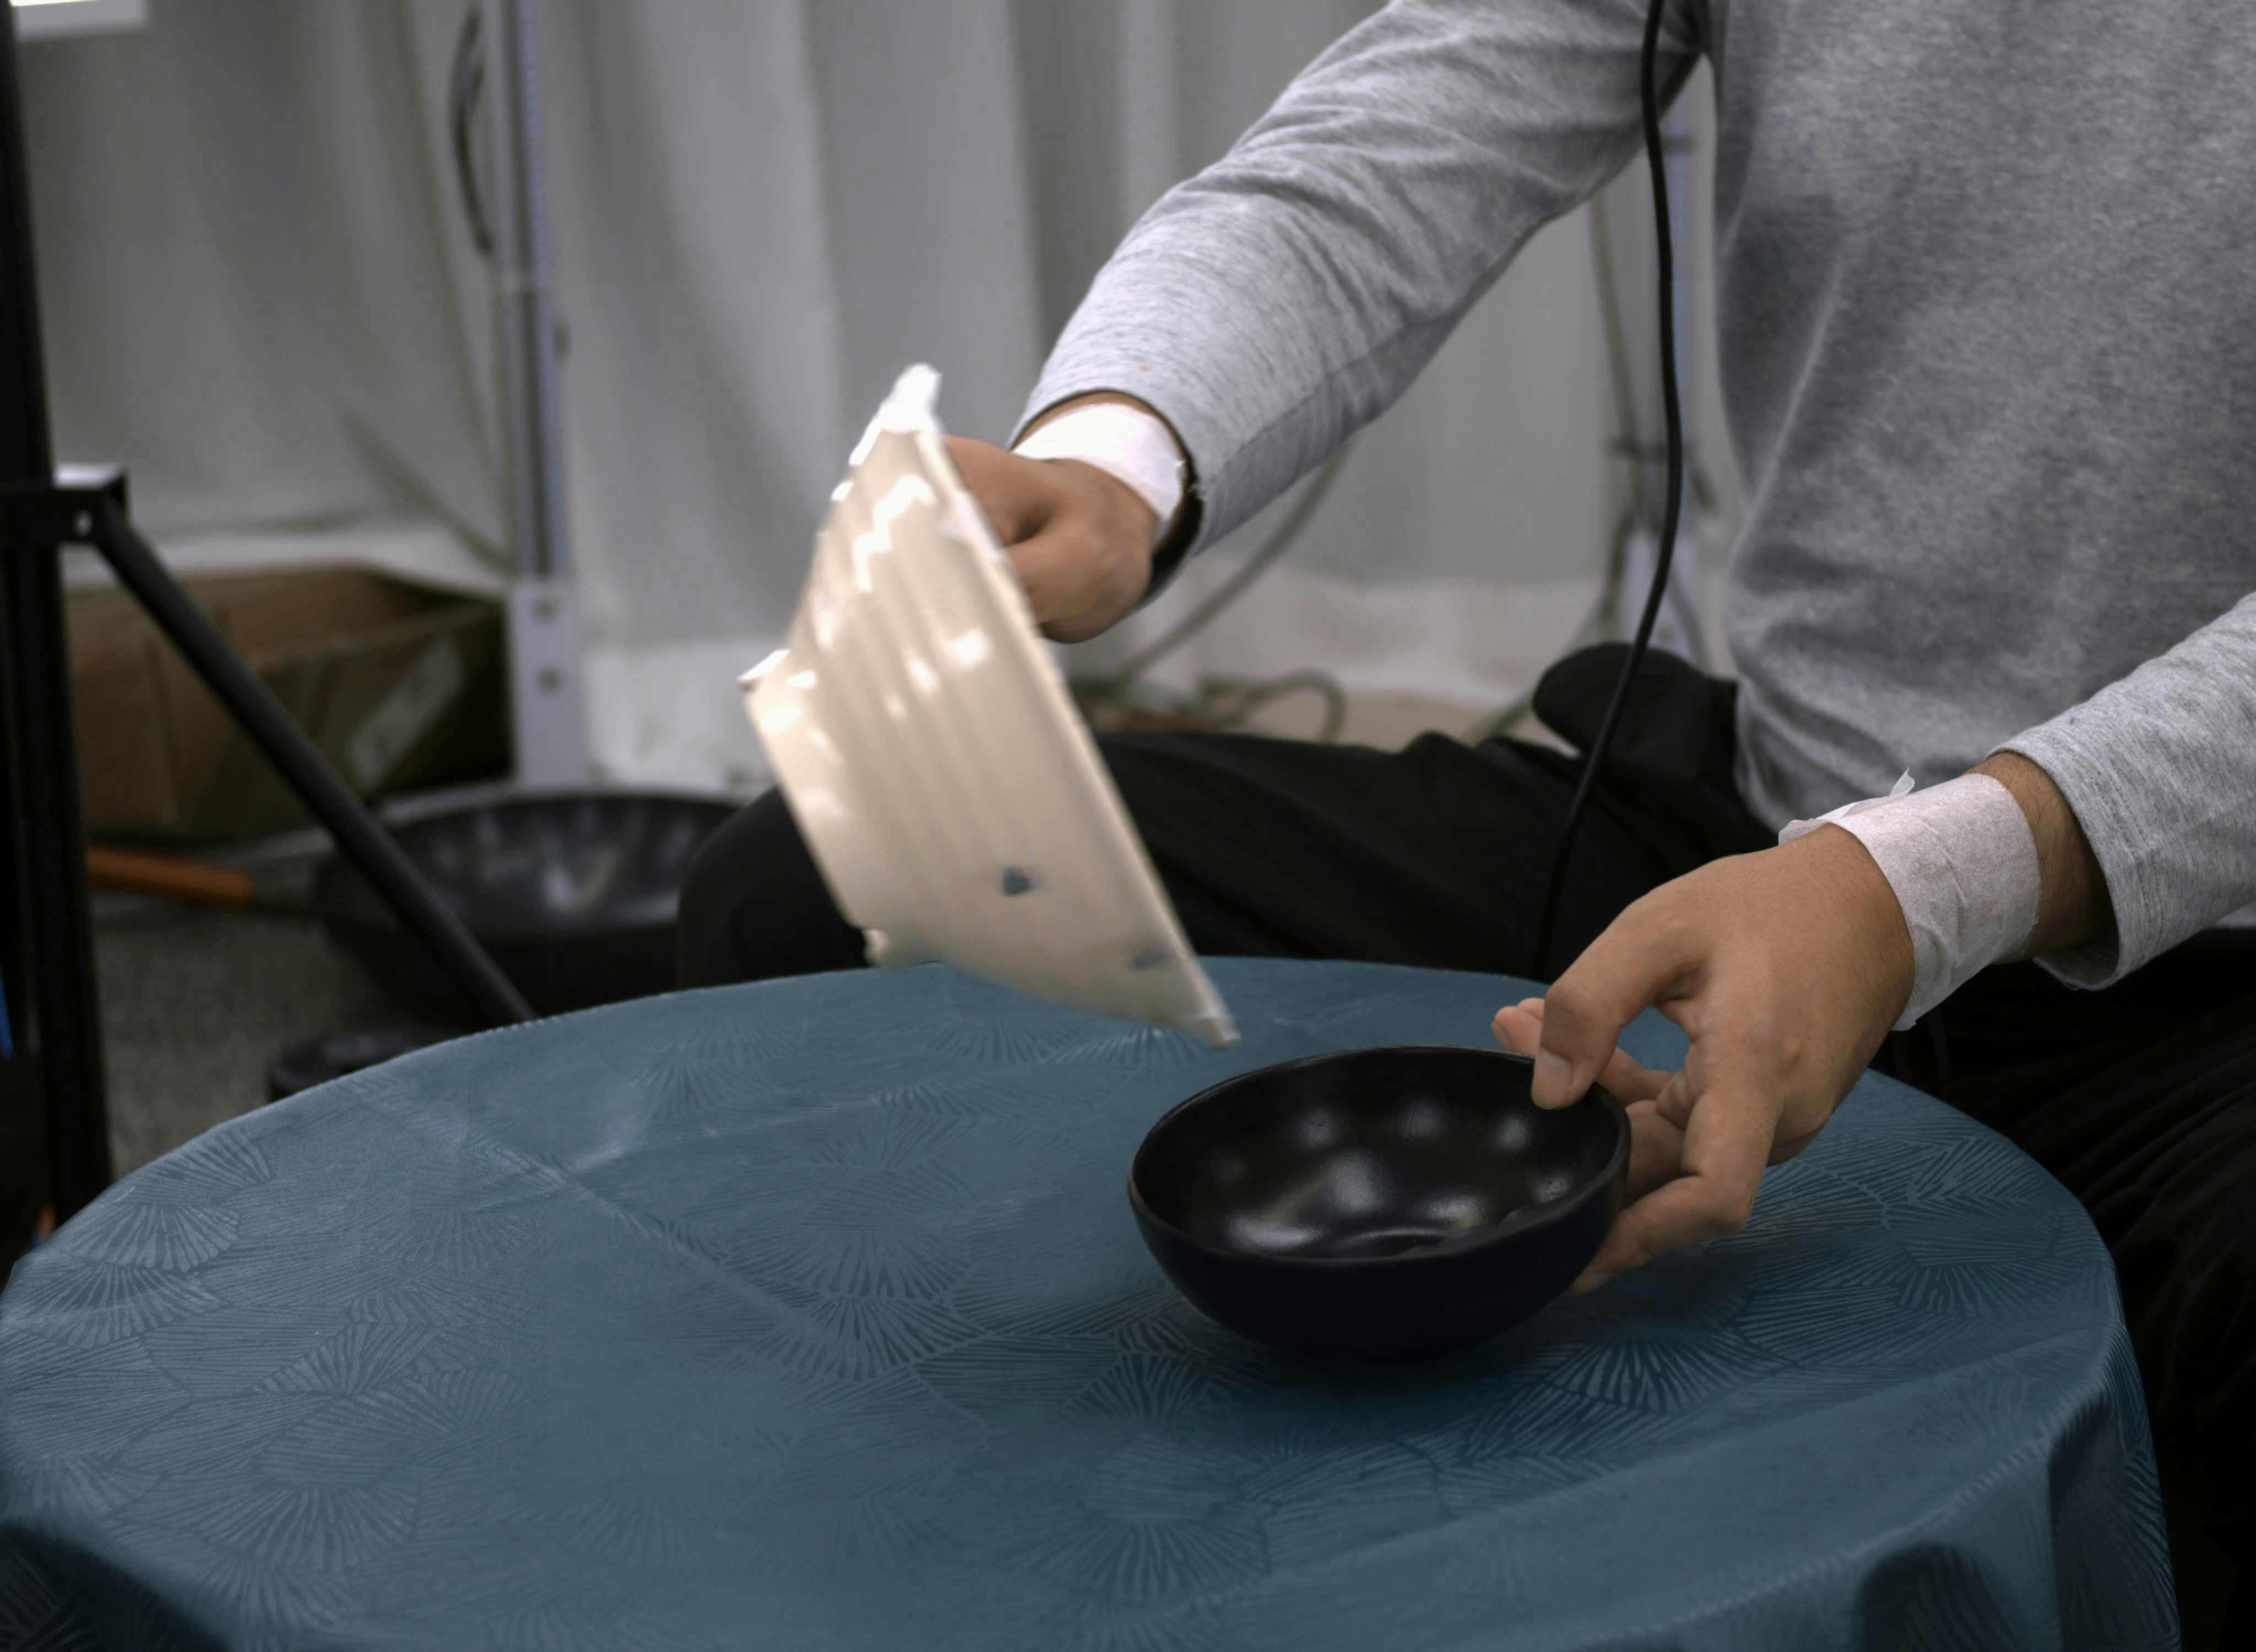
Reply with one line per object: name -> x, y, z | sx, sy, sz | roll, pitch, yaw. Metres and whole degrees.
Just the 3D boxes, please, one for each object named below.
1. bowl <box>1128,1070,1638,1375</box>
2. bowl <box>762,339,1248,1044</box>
bowl -> 0.070, 0.114, 1.442 | 0.139, 0.050, 0.141 | -3, 17, 0
bowl -> -0.044, -0.020, 1.409 | 0.077, 0.202, 0.206 | -25, 17, -1
